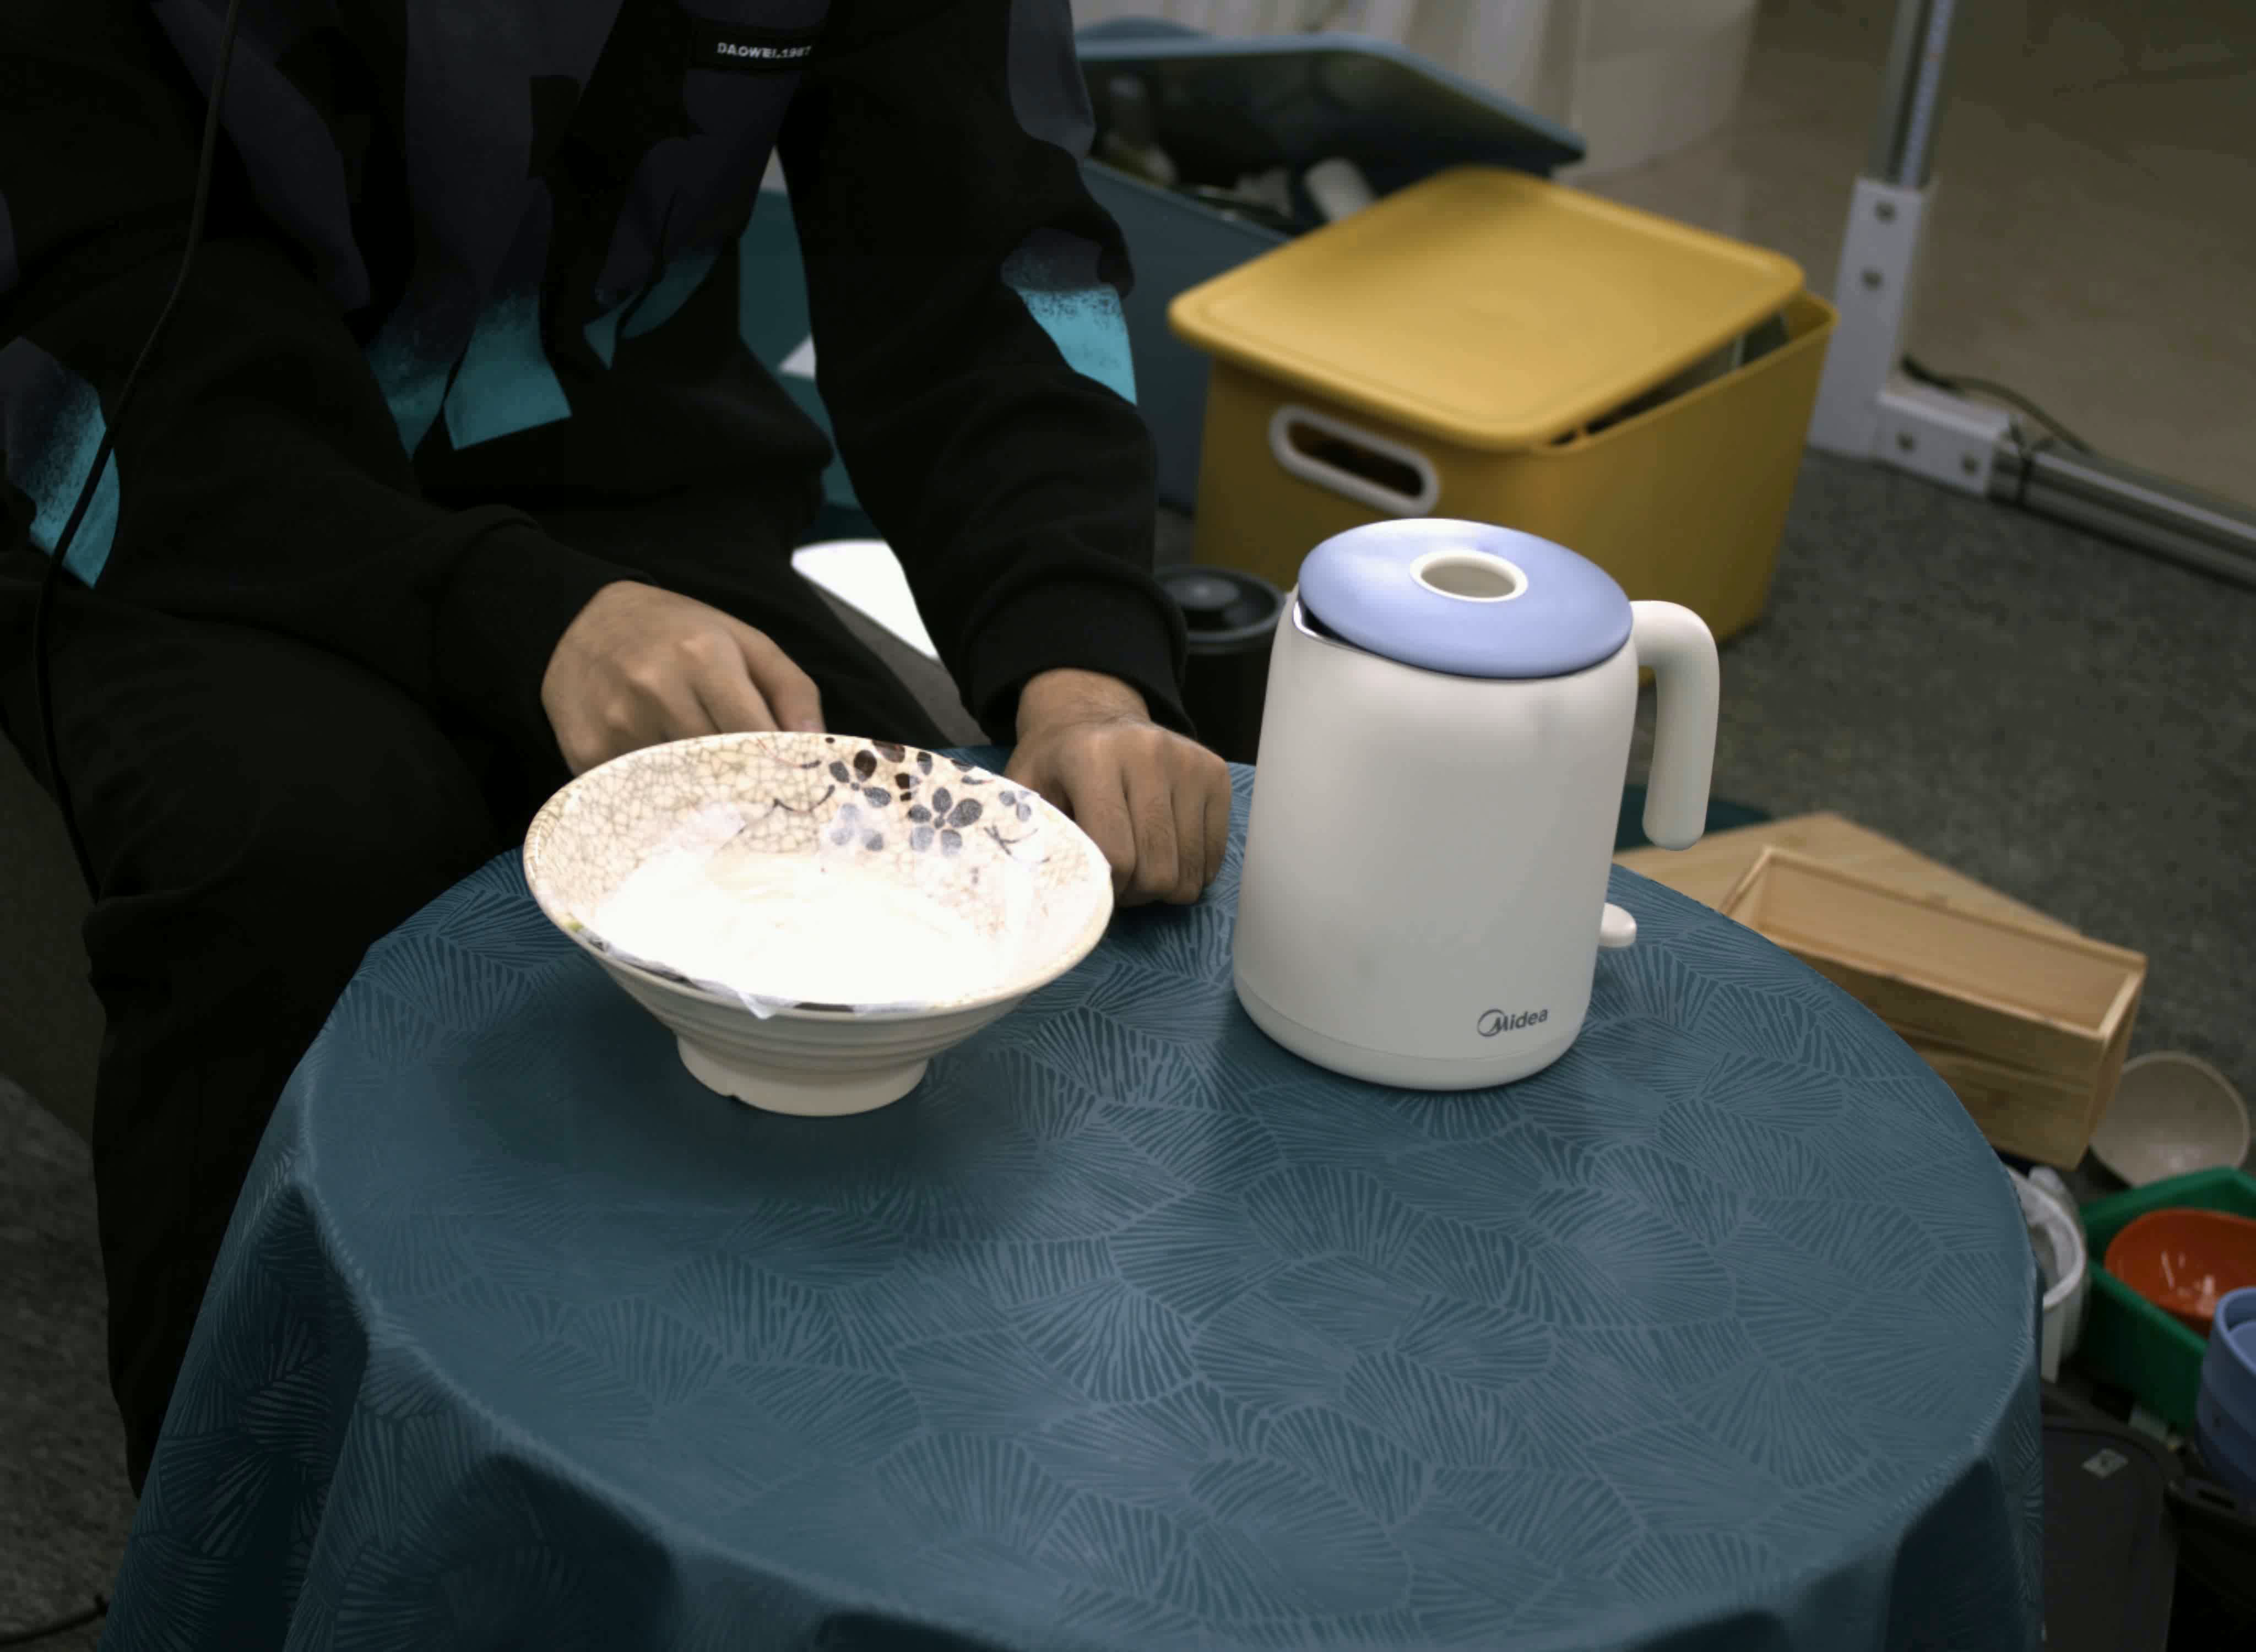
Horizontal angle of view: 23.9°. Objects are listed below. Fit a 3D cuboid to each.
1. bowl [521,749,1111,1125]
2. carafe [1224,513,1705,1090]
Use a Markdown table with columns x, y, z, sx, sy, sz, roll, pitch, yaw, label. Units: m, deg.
| x | y | z | sx | sy | sz | roll | pitch | yaw | label |
| --- | --- | --- | --- | --- | --- | --- | --- | --- | --- |
| -0.110 | 0.049 | 1.839 | 0.203 | 0.078 | 0.205 | 5 | 24 | -3 | bowl |
| 0.129 | -0.012 | 1.907 | 0.190 | 0.182 | 0.133 | -8 | 31 | -31 | carafe |
